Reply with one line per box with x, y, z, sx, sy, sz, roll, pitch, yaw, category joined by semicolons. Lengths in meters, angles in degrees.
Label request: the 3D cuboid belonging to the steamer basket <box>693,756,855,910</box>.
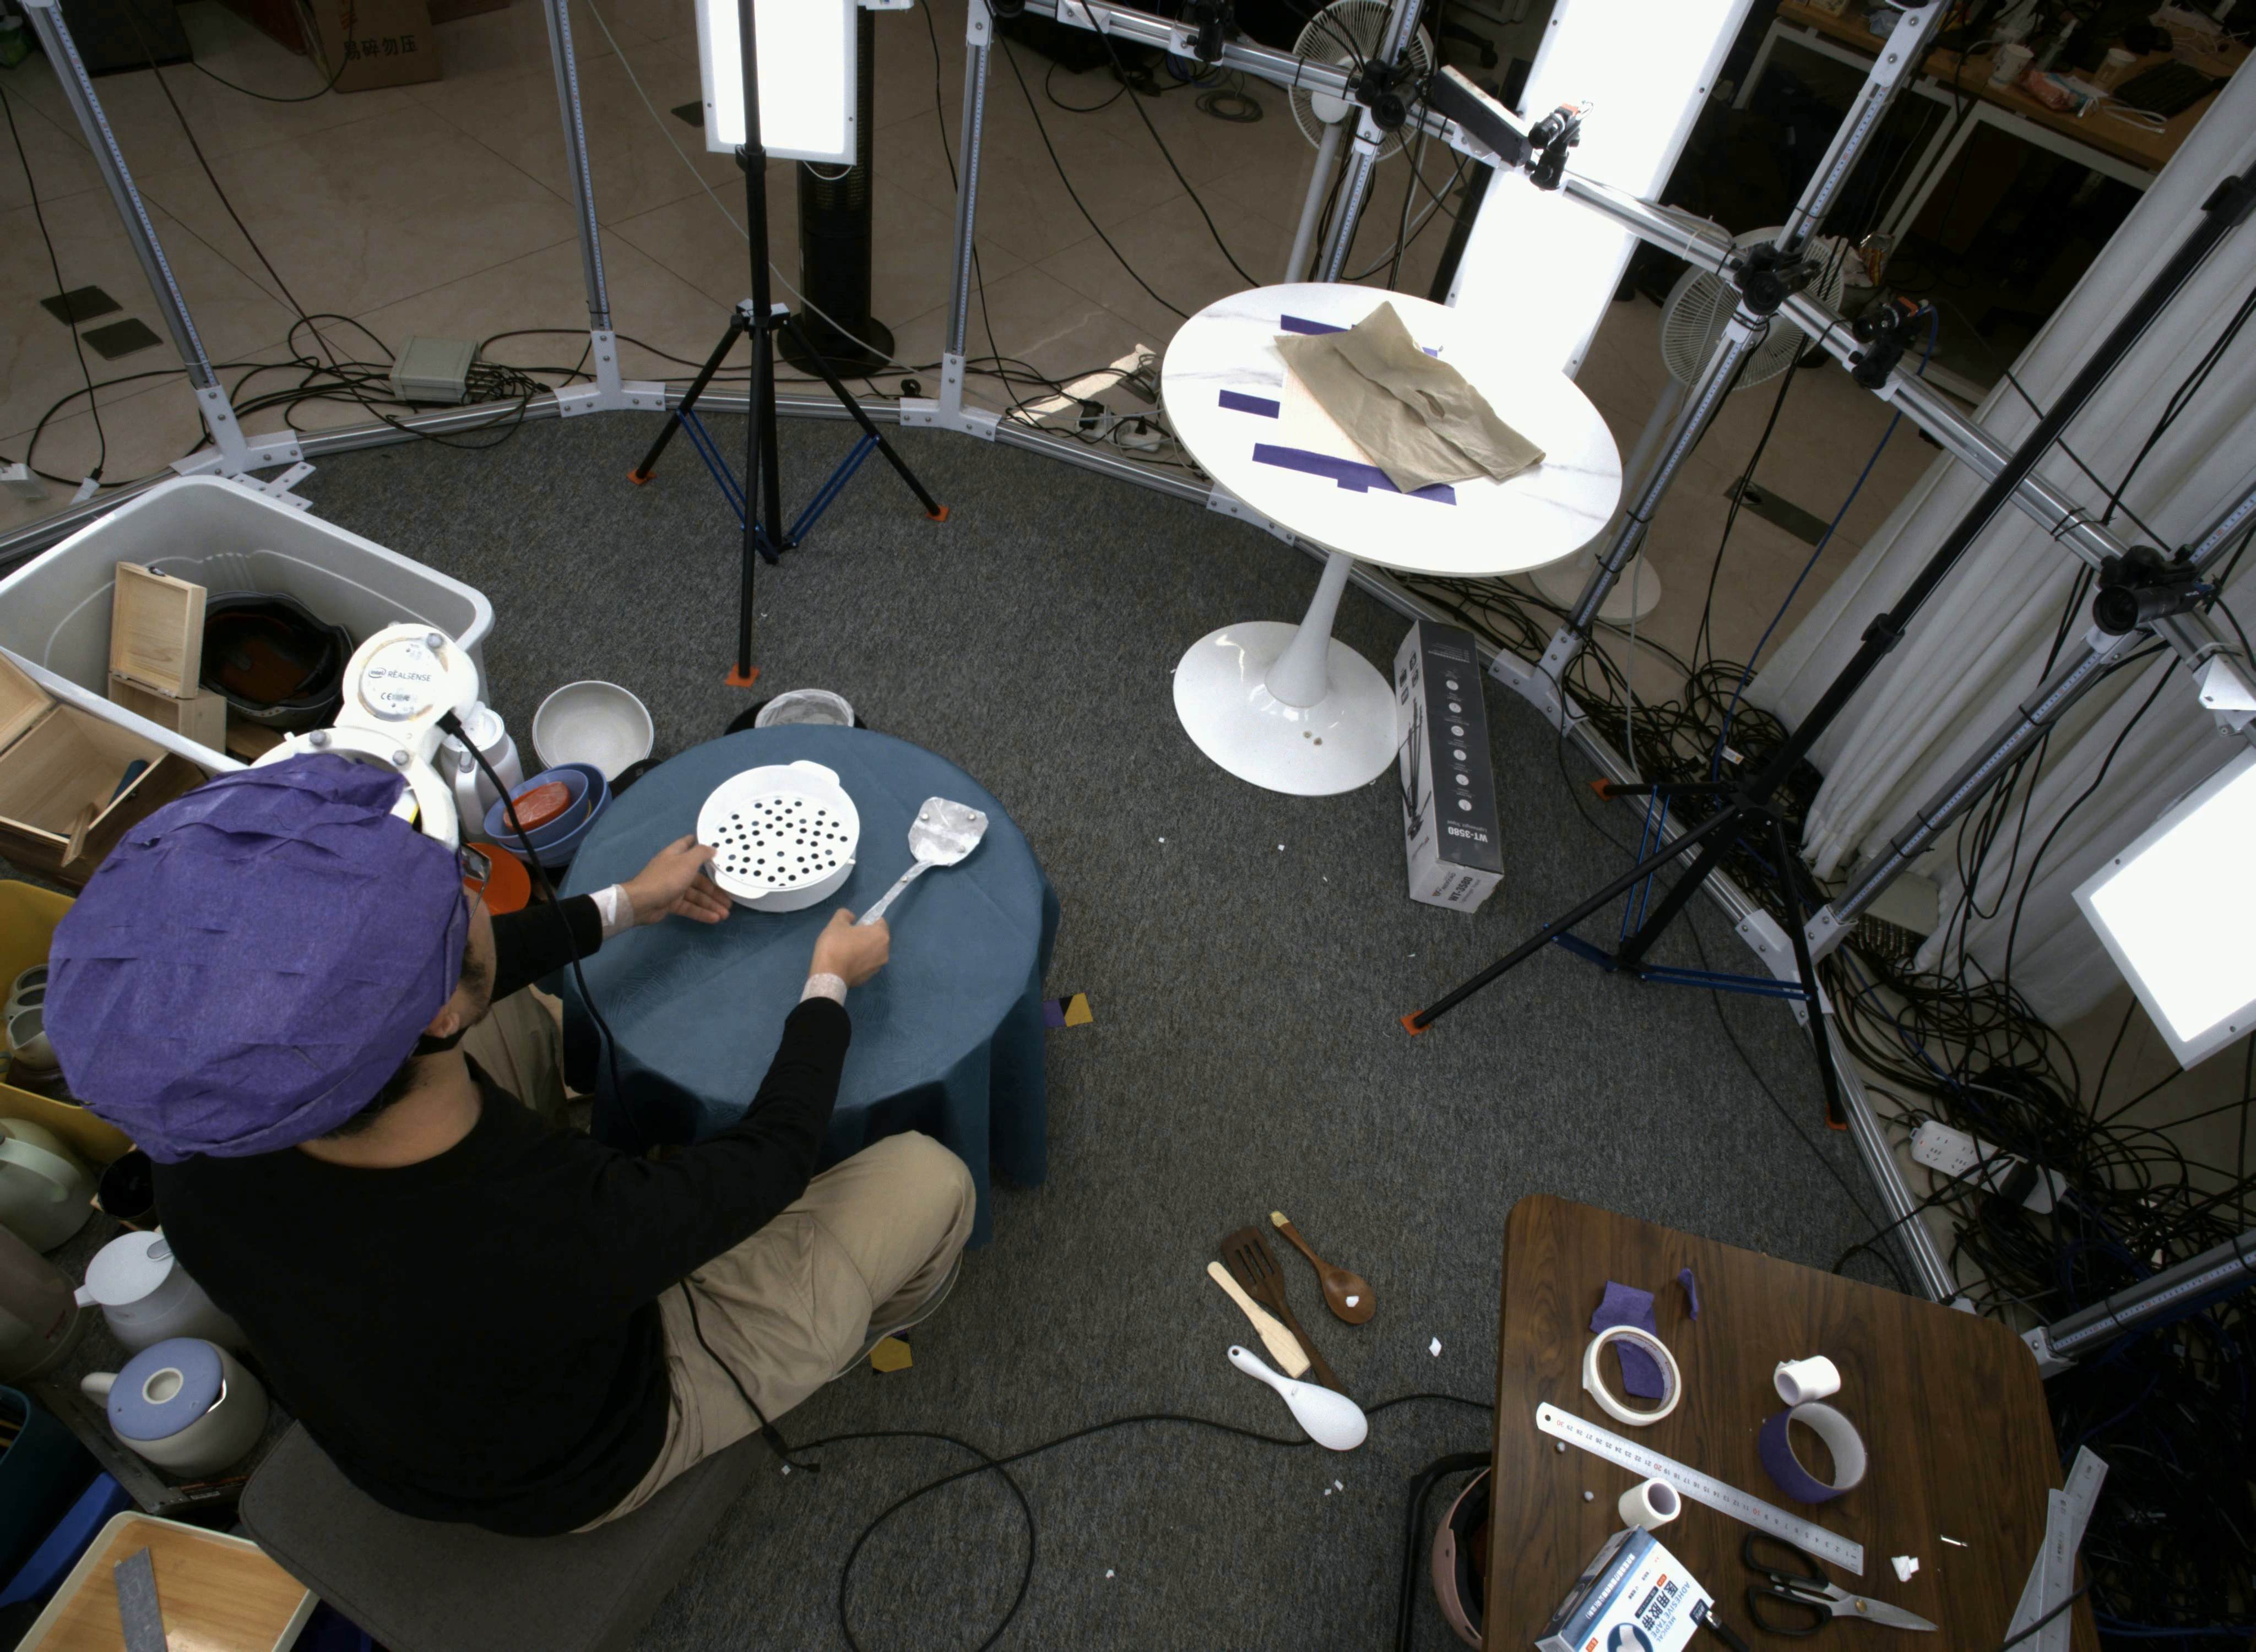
-0.450;0.012;1.657;0.199;0.070;0.228;21;53;3;steamer basket

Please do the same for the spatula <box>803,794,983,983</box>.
-0.301;0.075;1.640;0.097;0.046;0.363;22;38;10;spatula
